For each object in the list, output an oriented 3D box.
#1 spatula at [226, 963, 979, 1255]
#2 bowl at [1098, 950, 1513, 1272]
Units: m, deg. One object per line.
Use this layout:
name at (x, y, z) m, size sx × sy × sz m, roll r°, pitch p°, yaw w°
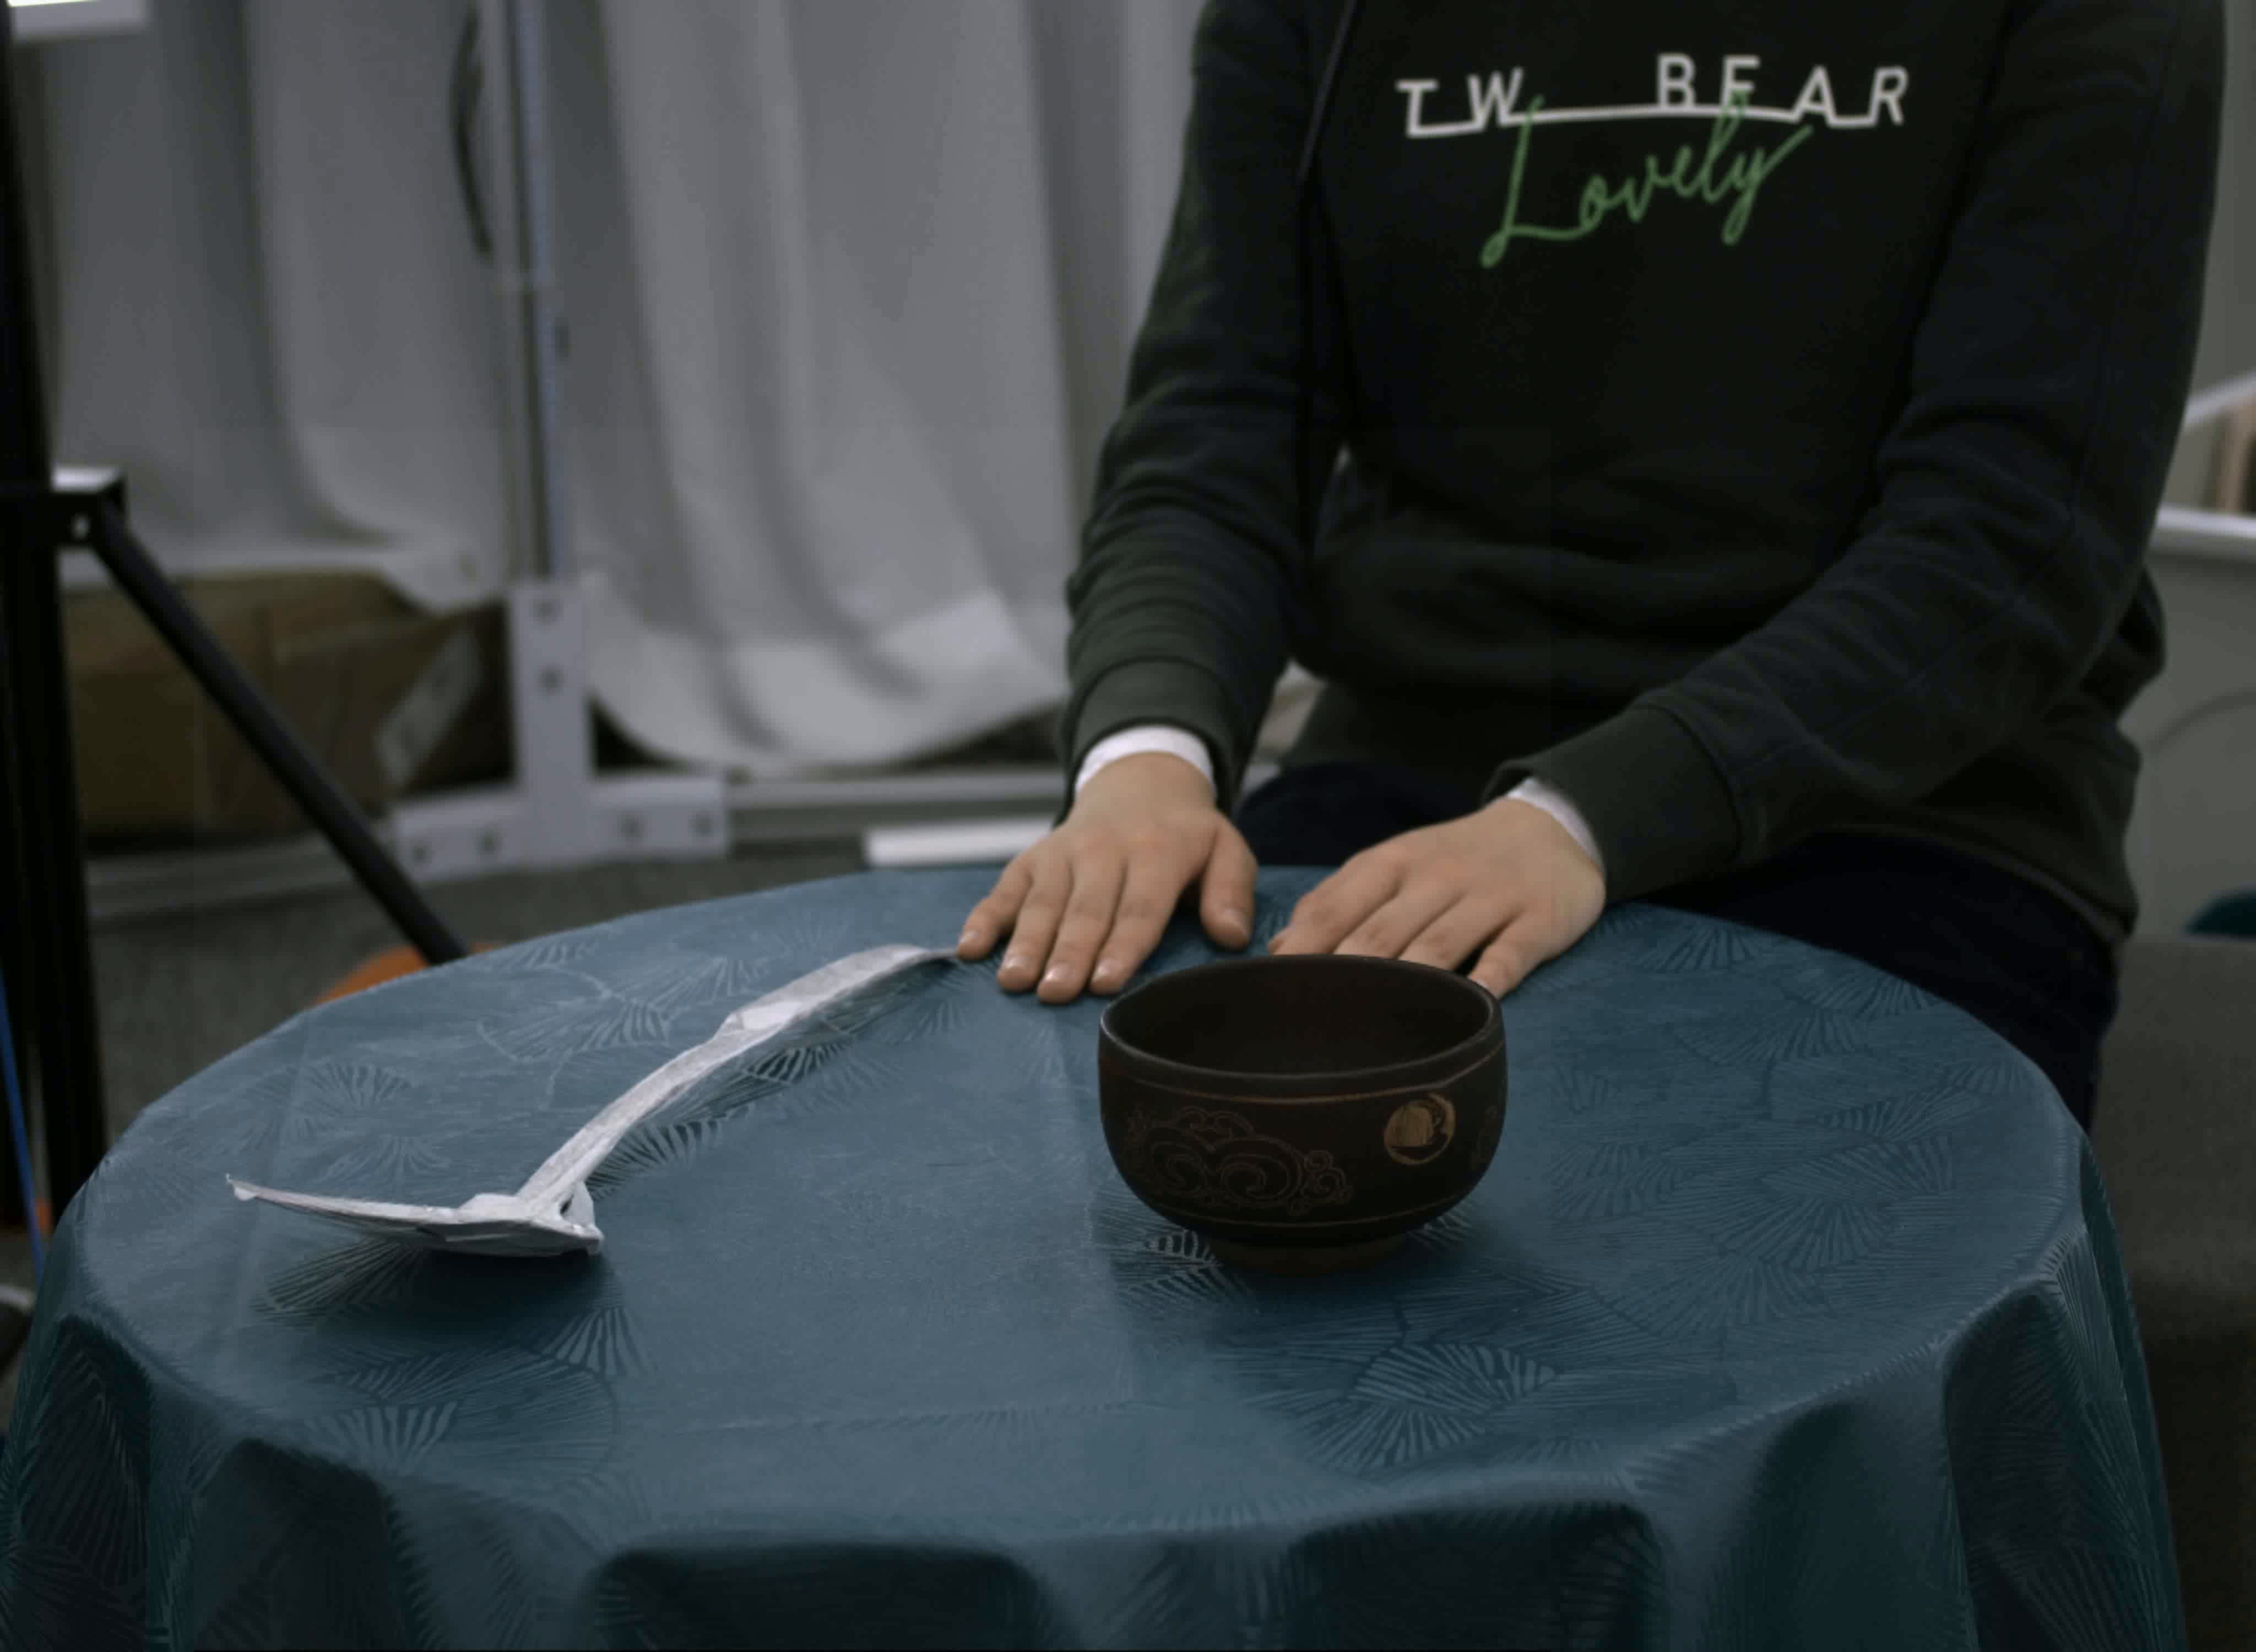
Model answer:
spatula at (-0.138, 0.076, 1.623) m, size 0.100 × 0.045 × 0.359 m, roll 3°, pitch 17°, yaw 26°
bowl at (0.050, 0.084, 1.502) m, size 0.117 × 0.070 × 0.118 m, roll -1°, pitch 15°, yaw -1°
